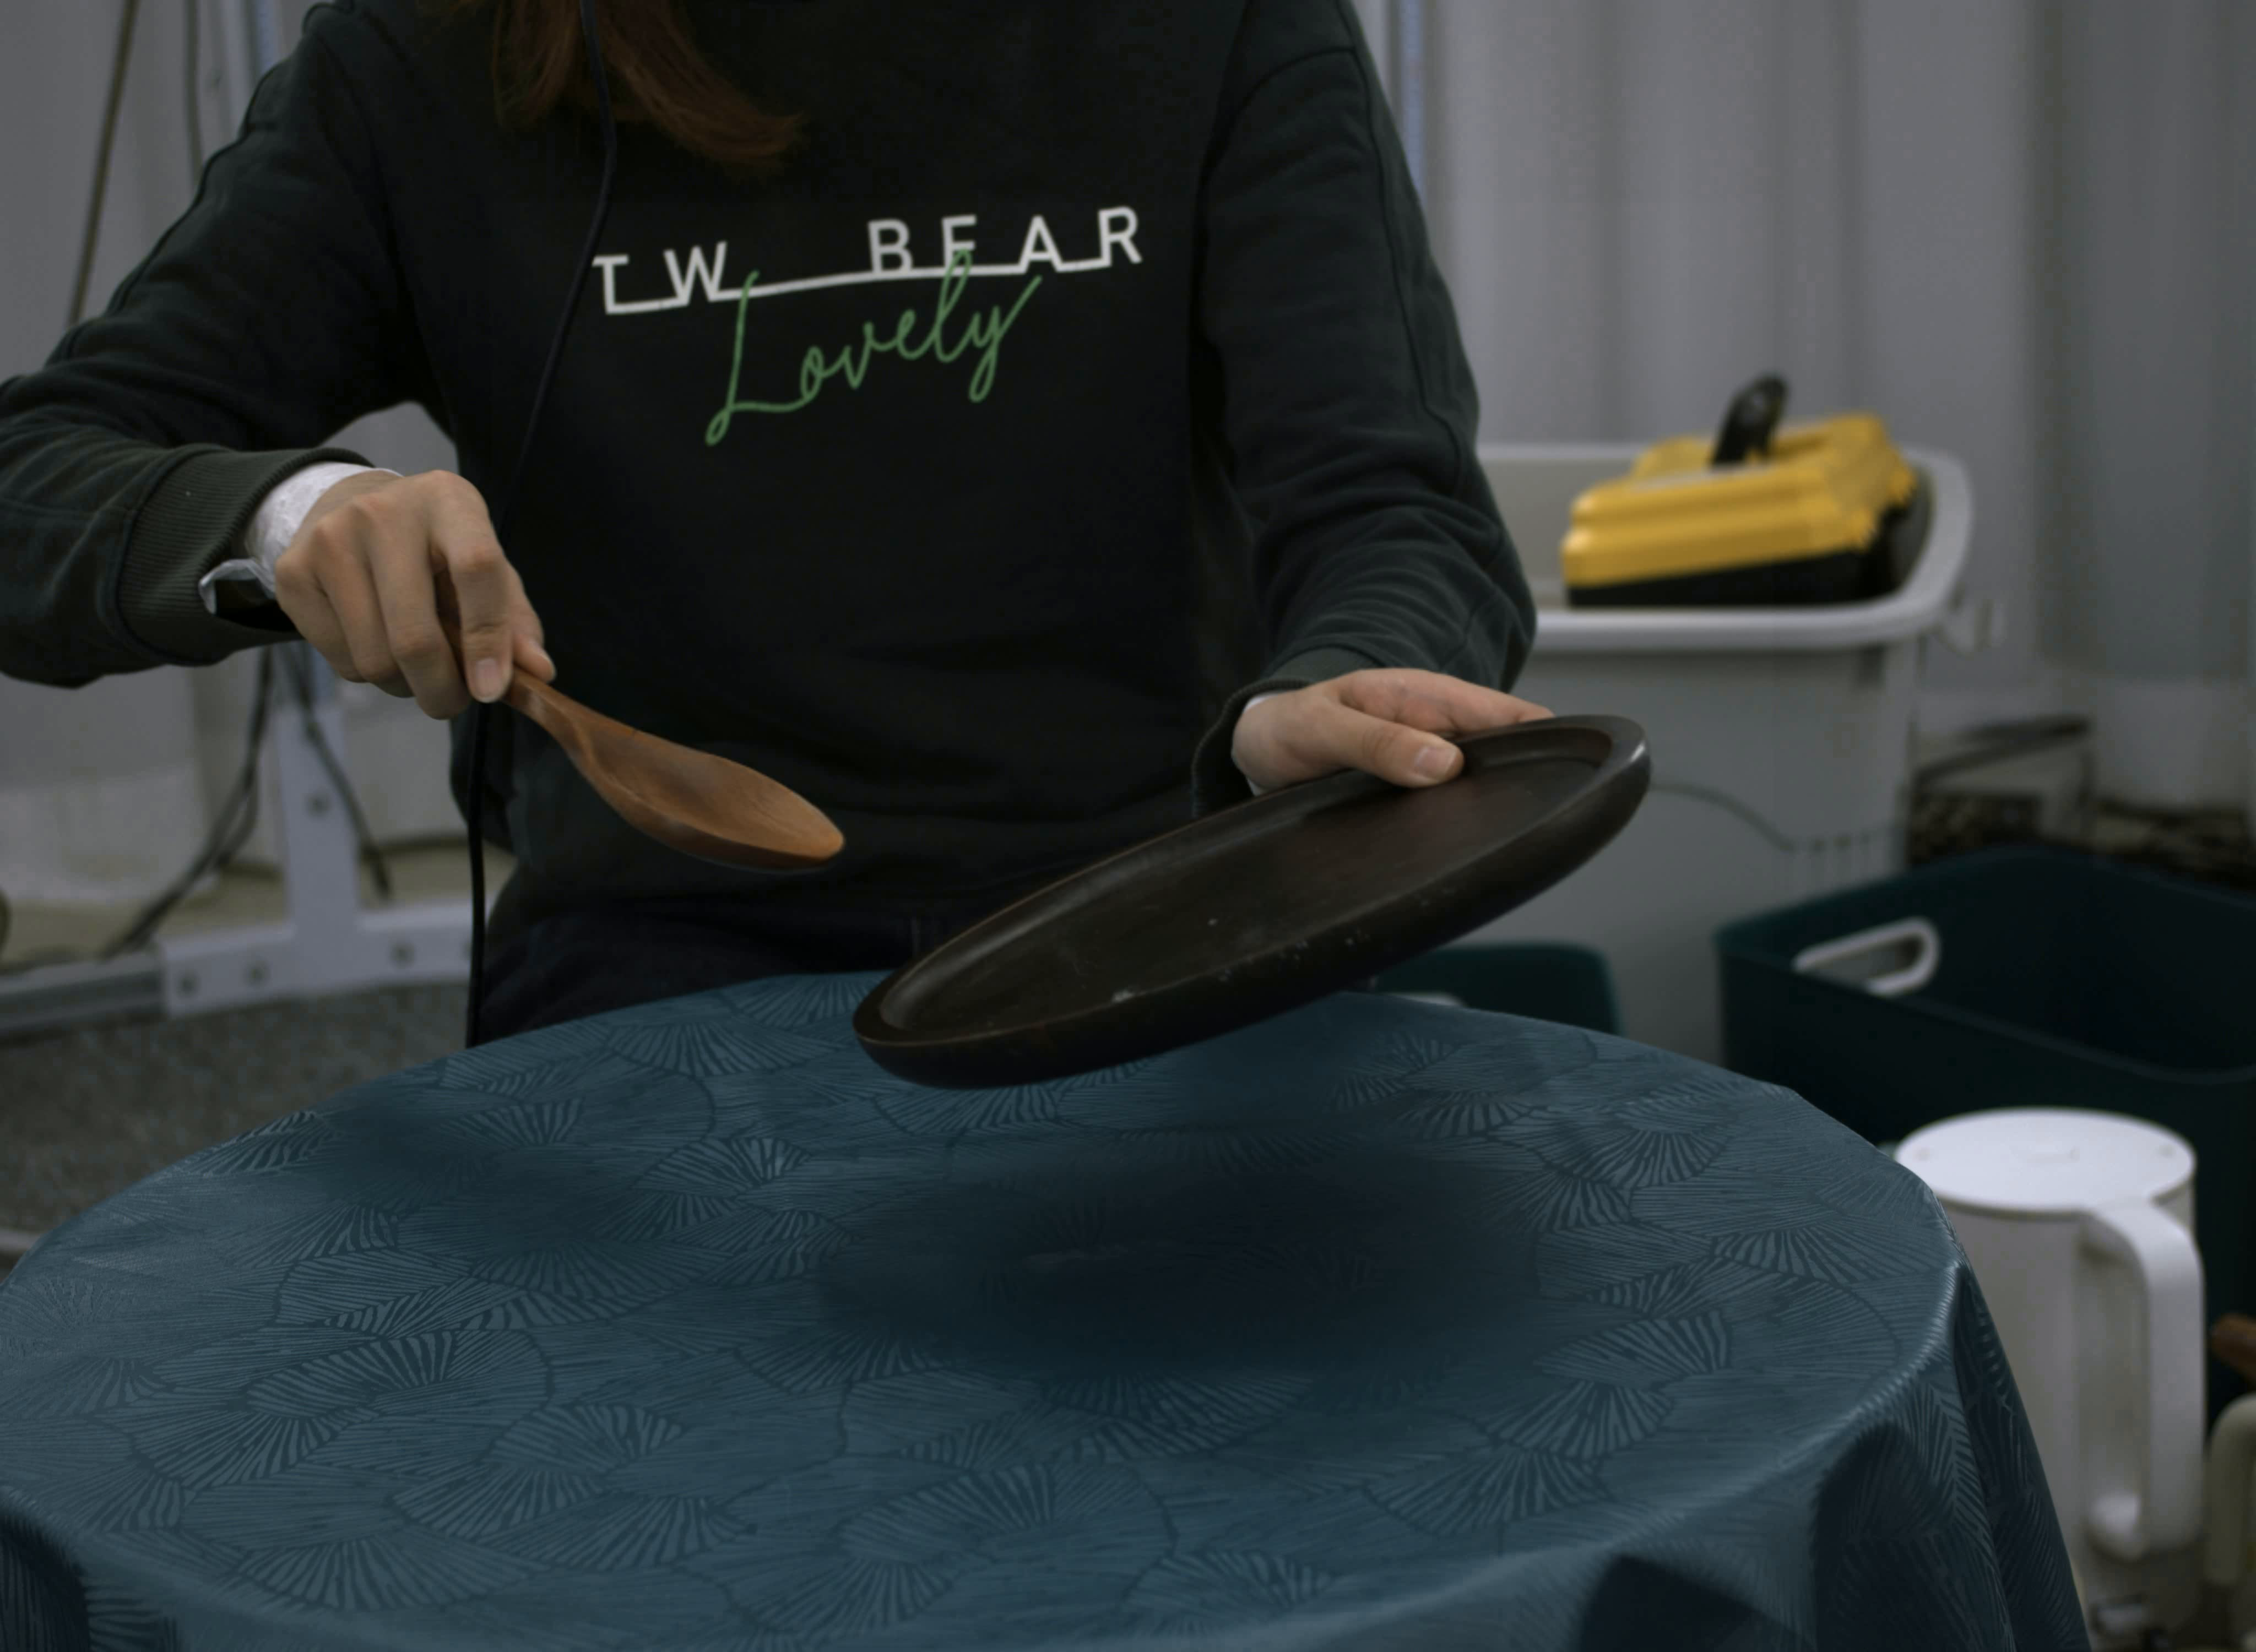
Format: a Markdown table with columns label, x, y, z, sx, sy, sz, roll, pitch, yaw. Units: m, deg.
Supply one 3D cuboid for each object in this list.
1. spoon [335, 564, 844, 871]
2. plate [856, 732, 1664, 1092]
| label | x | y | z | sx | sy | sz | roll | pitch | yaw |
| --- | --- | --- | --- | --- | --- | --- | --- | --- | --- |
| spoon | -0.172 | -0.032 | 1.690 | 0.218 | 0.017 | 0.075 | 31 | 21 | 35 |
| plate | 0.040 | 0.025 | 1.630 | 0.254 | 0.029 | 0.256 | -19 | 10 | 3 |
